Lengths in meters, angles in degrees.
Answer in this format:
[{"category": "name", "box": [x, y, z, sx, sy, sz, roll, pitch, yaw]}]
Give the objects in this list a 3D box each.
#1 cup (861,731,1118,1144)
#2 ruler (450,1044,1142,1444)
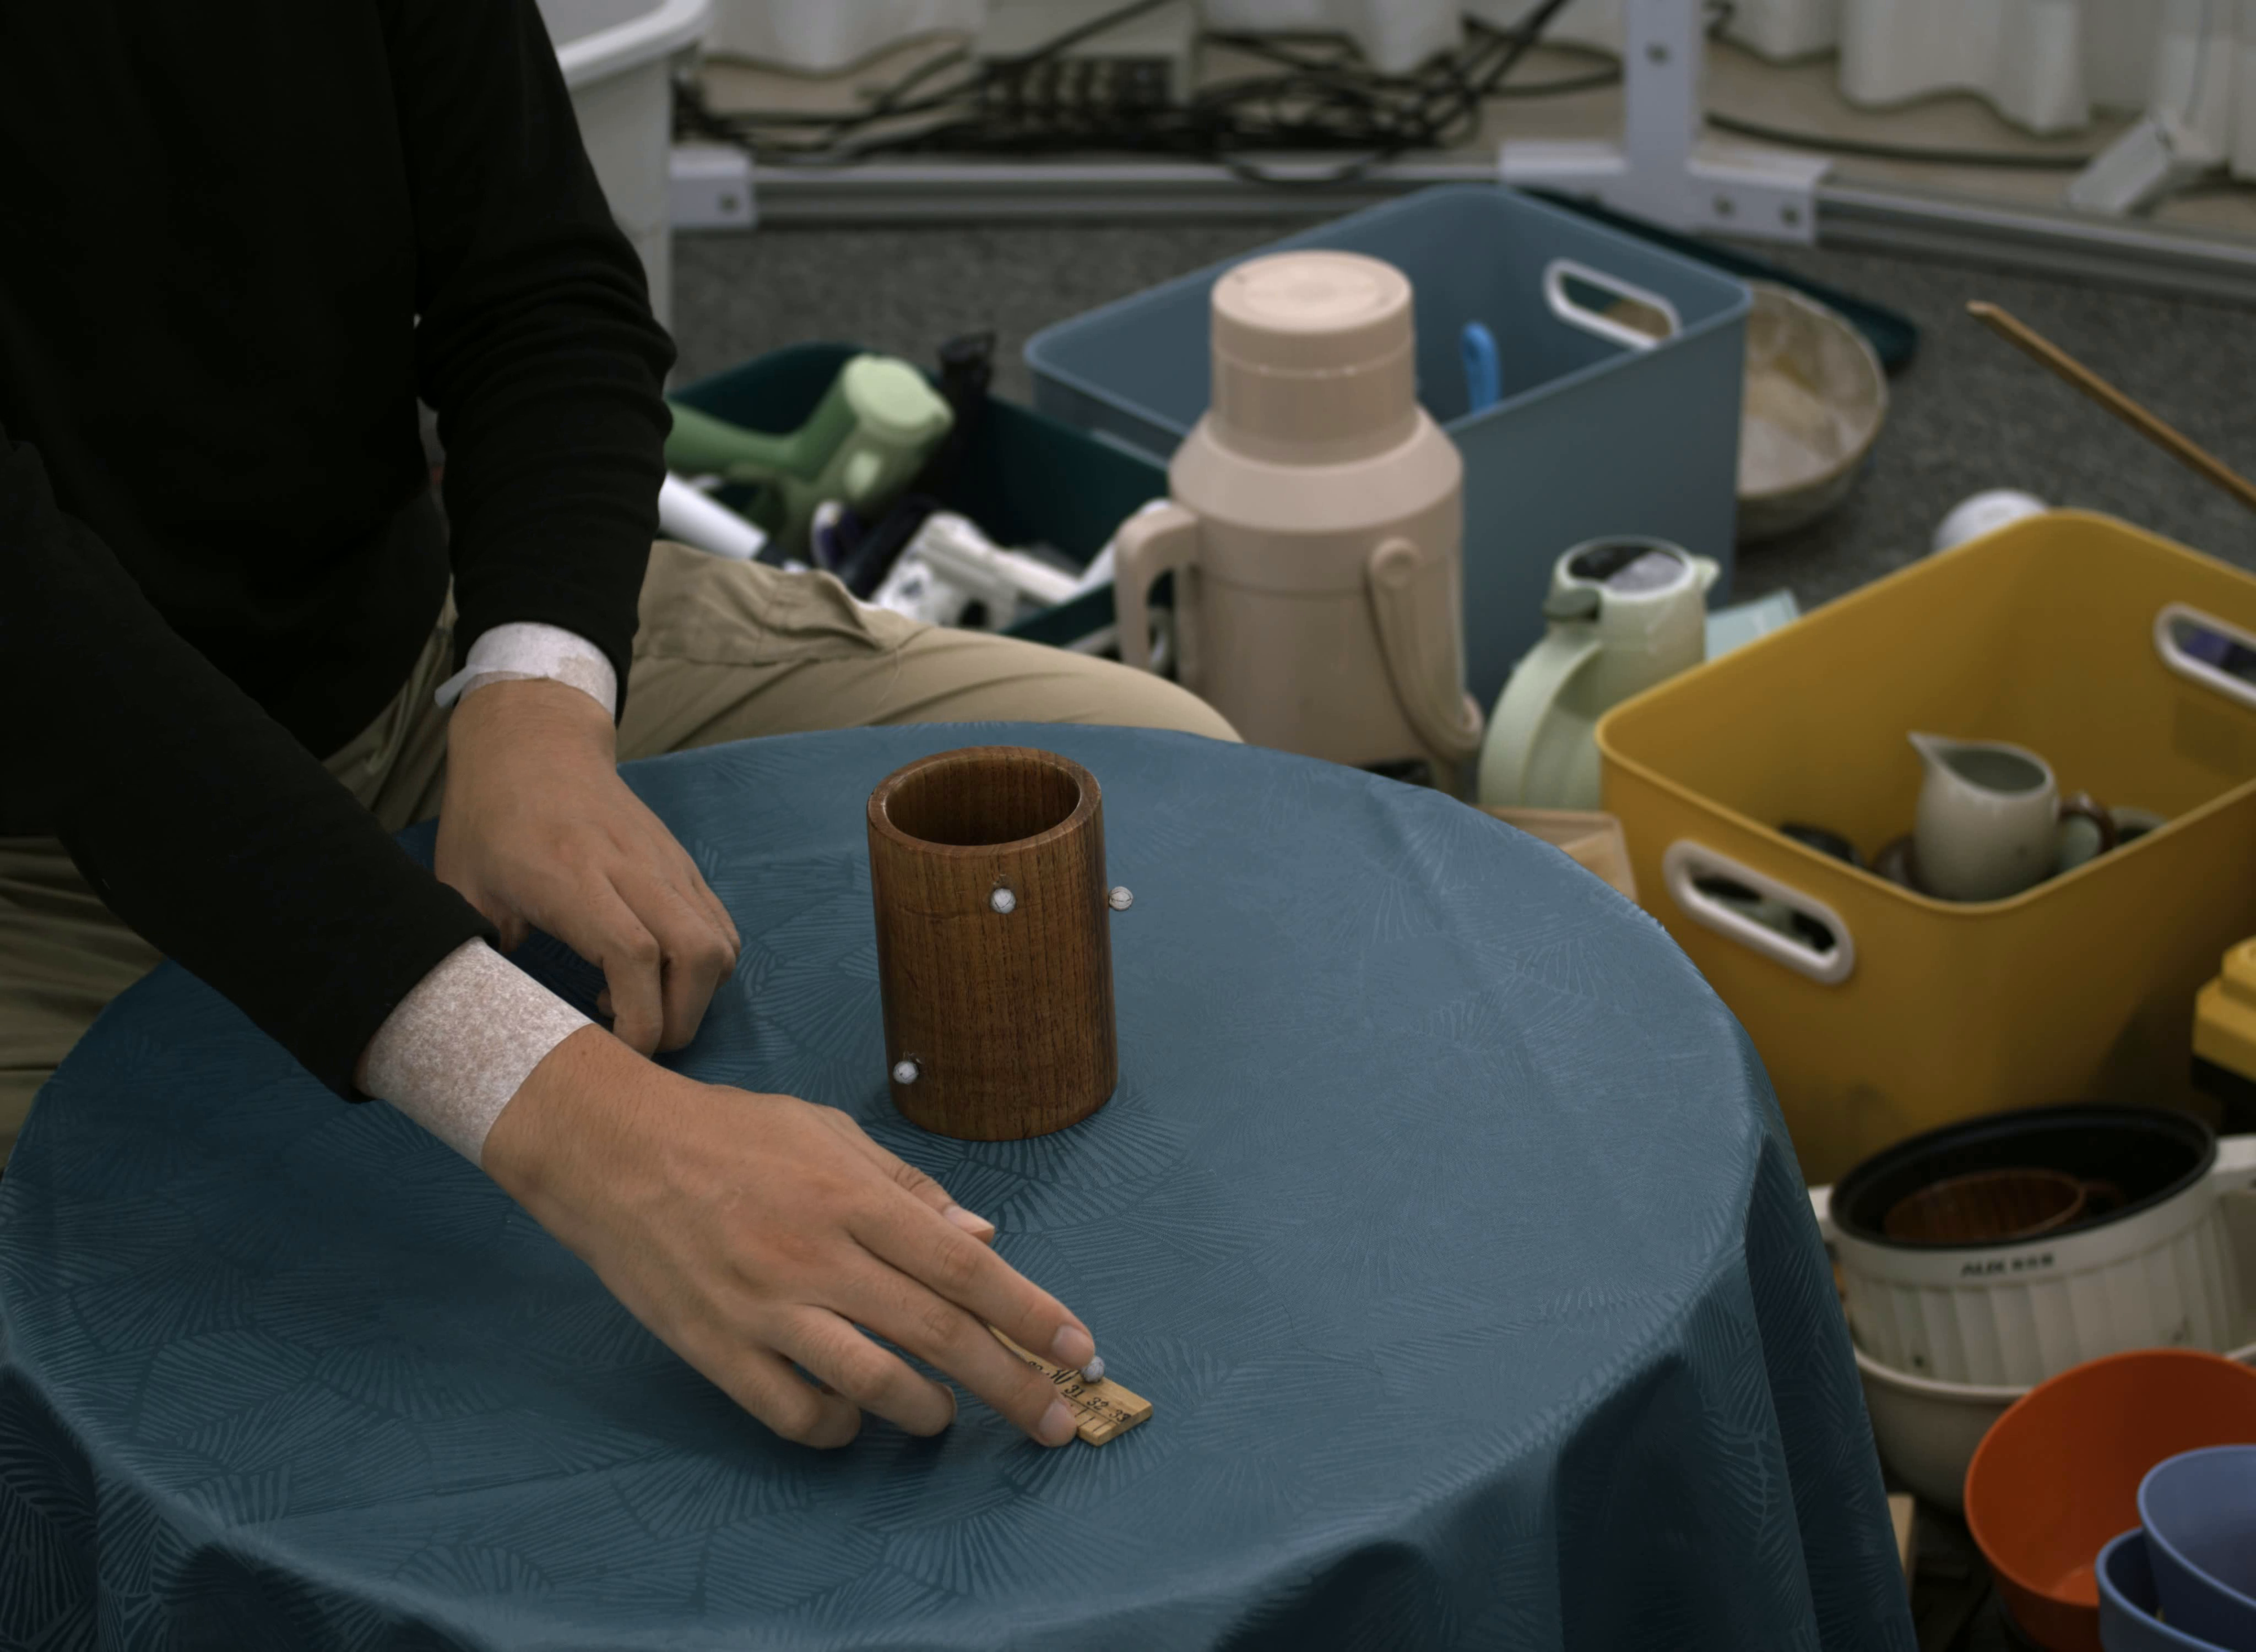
[{"category": "cup", "box": [-0.046, 0.038, 1.902, 0.087, 0.117, 0.089, -2, 25, 1]}, {"category": "ruler", "box": [-0.116, 0.131, 1.843, 0.028, 0.022, 0.331, -17, 29, -40]}]
